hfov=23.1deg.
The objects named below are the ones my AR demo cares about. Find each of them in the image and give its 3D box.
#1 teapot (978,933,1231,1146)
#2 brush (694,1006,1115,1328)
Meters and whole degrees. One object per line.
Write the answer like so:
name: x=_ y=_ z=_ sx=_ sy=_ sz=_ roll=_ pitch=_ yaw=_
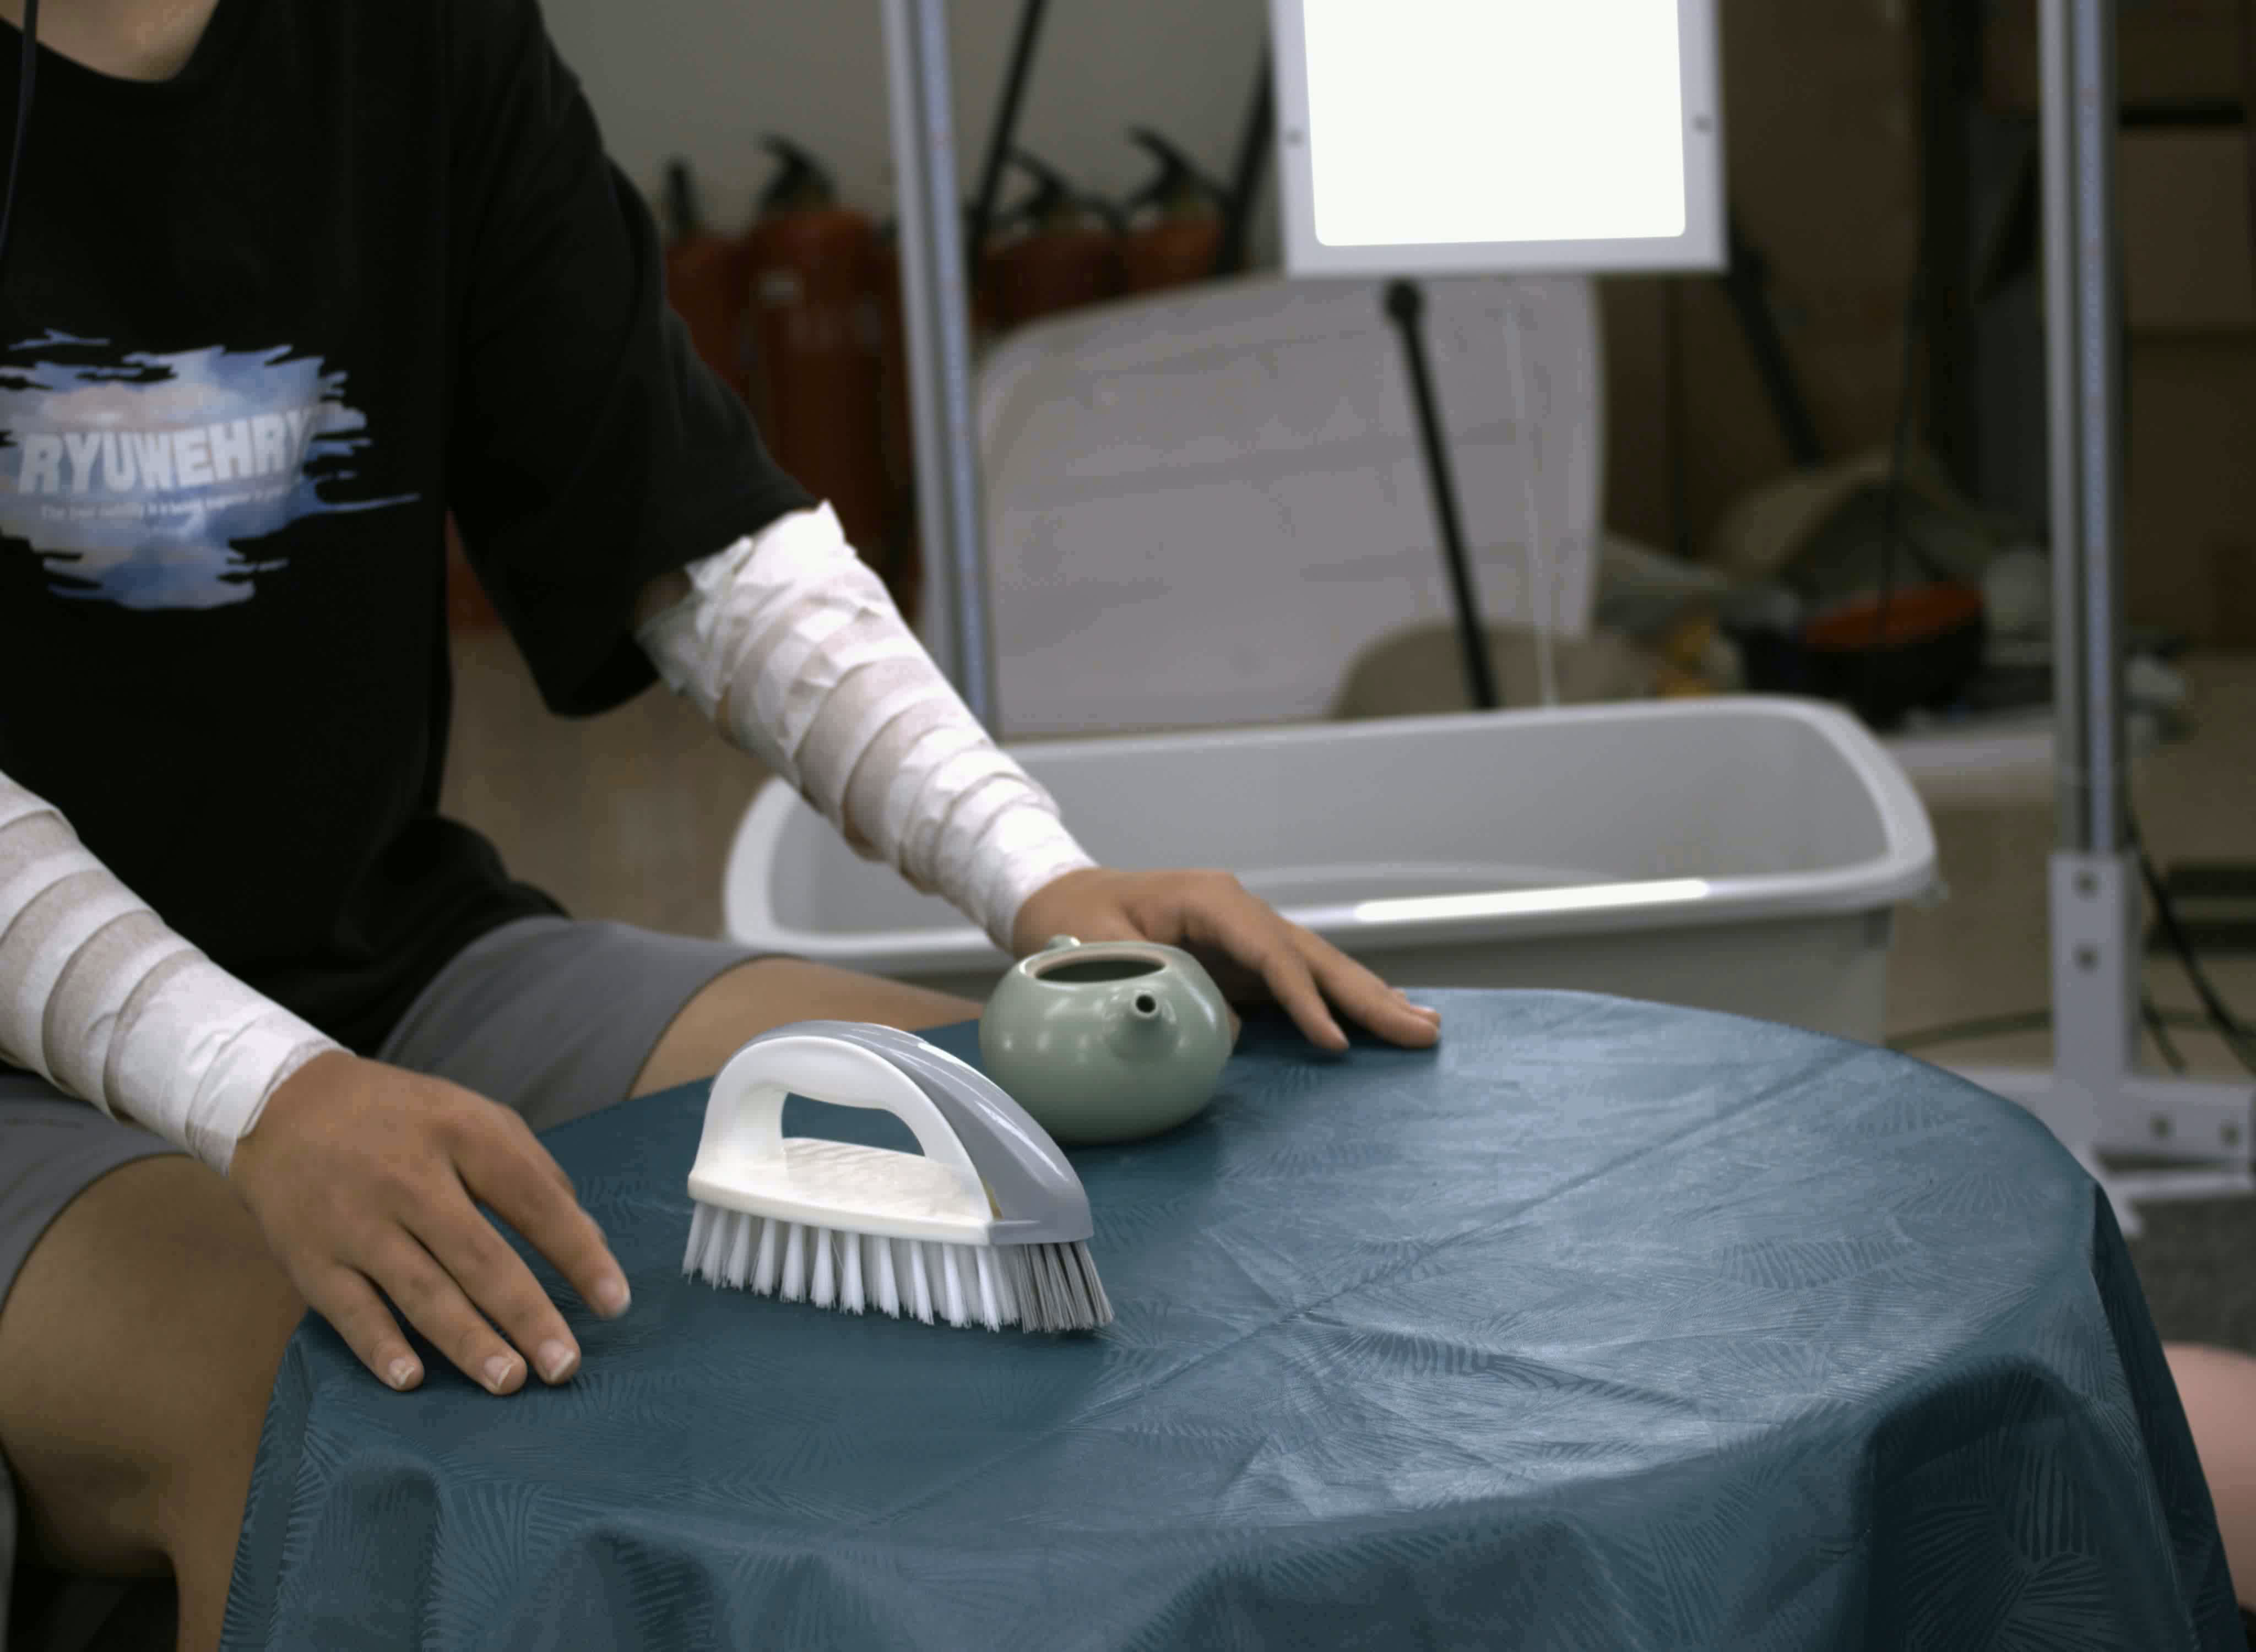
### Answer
teapot: x=-0.011 y=0.076 z=1.985 sx=0.090 sy=0.061 sz=0.129 roll=-10 pitch=14 yaw=-11
brush: x=-0.073 y=0.109 z=1.804 sx=0.179 sy=0.094 sz=0.060 roll=10 pitch=24 yaw=44
